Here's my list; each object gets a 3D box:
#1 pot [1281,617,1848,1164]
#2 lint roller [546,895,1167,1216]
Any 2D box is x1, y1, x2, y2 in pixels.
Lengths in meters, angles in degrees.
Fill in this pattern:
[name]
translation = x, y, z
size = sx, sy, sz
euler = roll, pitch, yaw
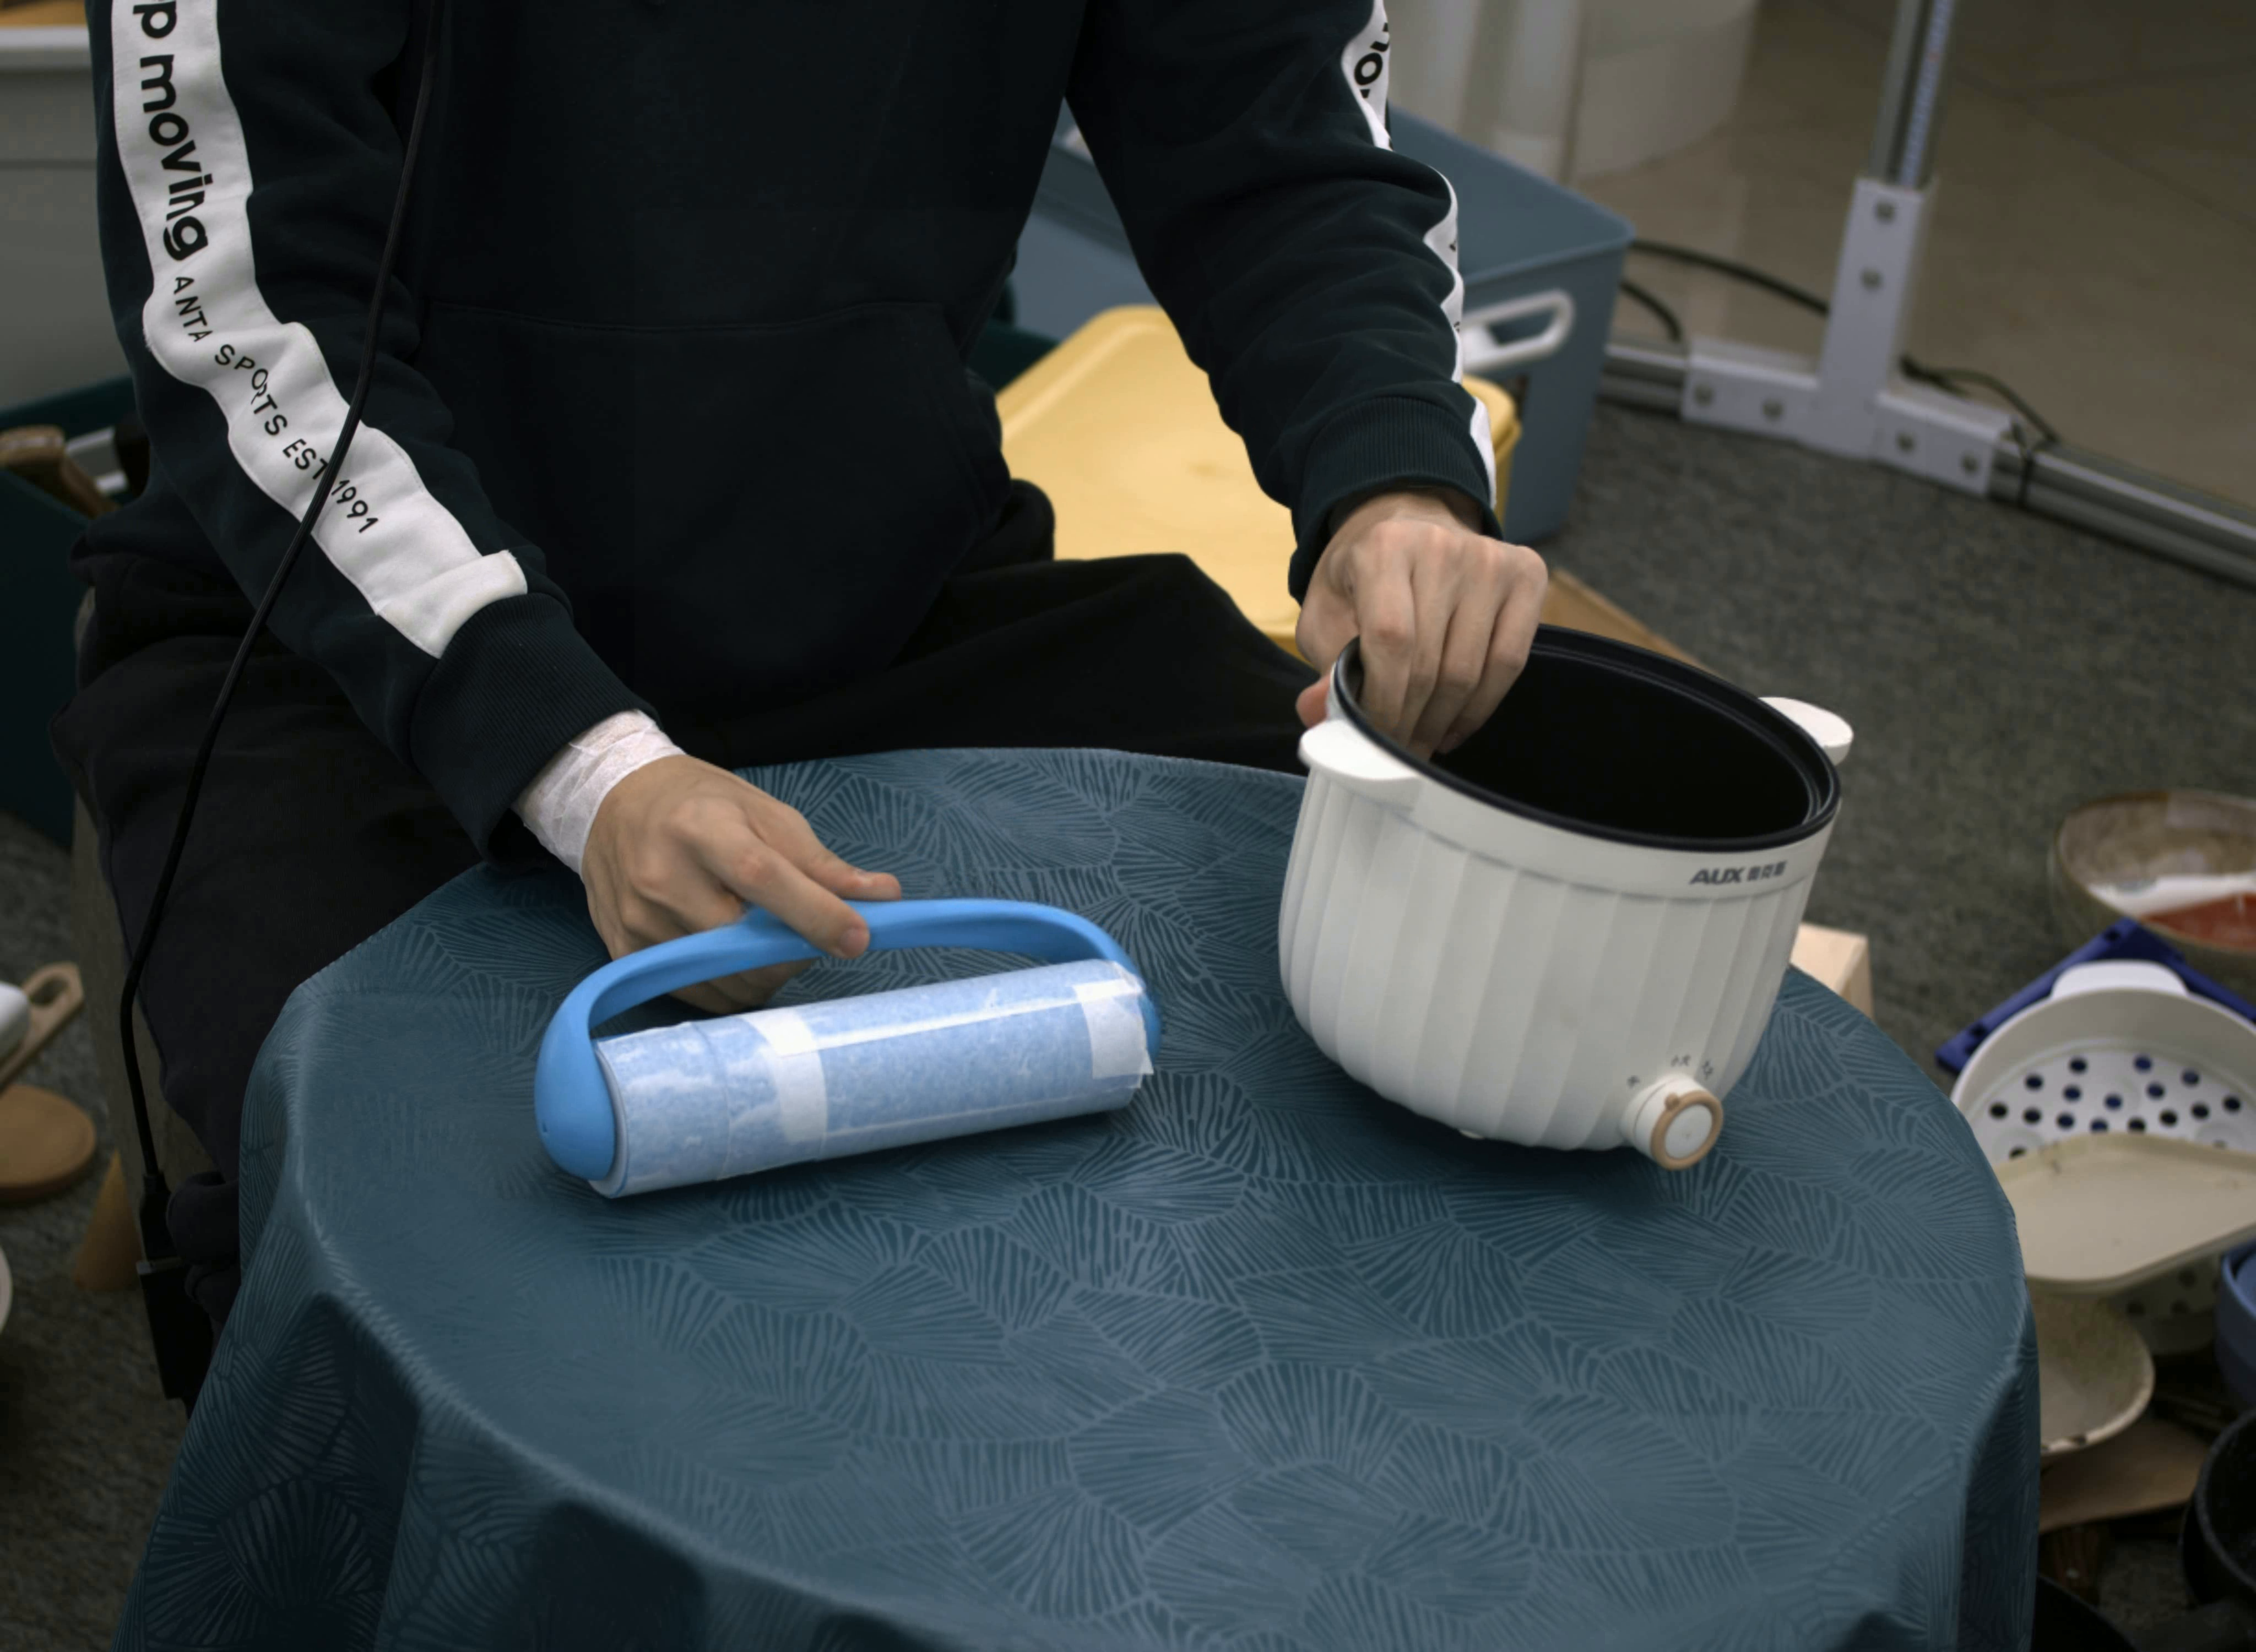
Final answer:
[pot]
translation = 0.150, 0.026, 1.860
size = 0.238, 0.142, 0.192
euler = -5, 25, -36
[lint roller]
translation = -0.119, 0.058, 1.838
size = 0.227, 0.067, 0.182
euler = -13, 34, -29
